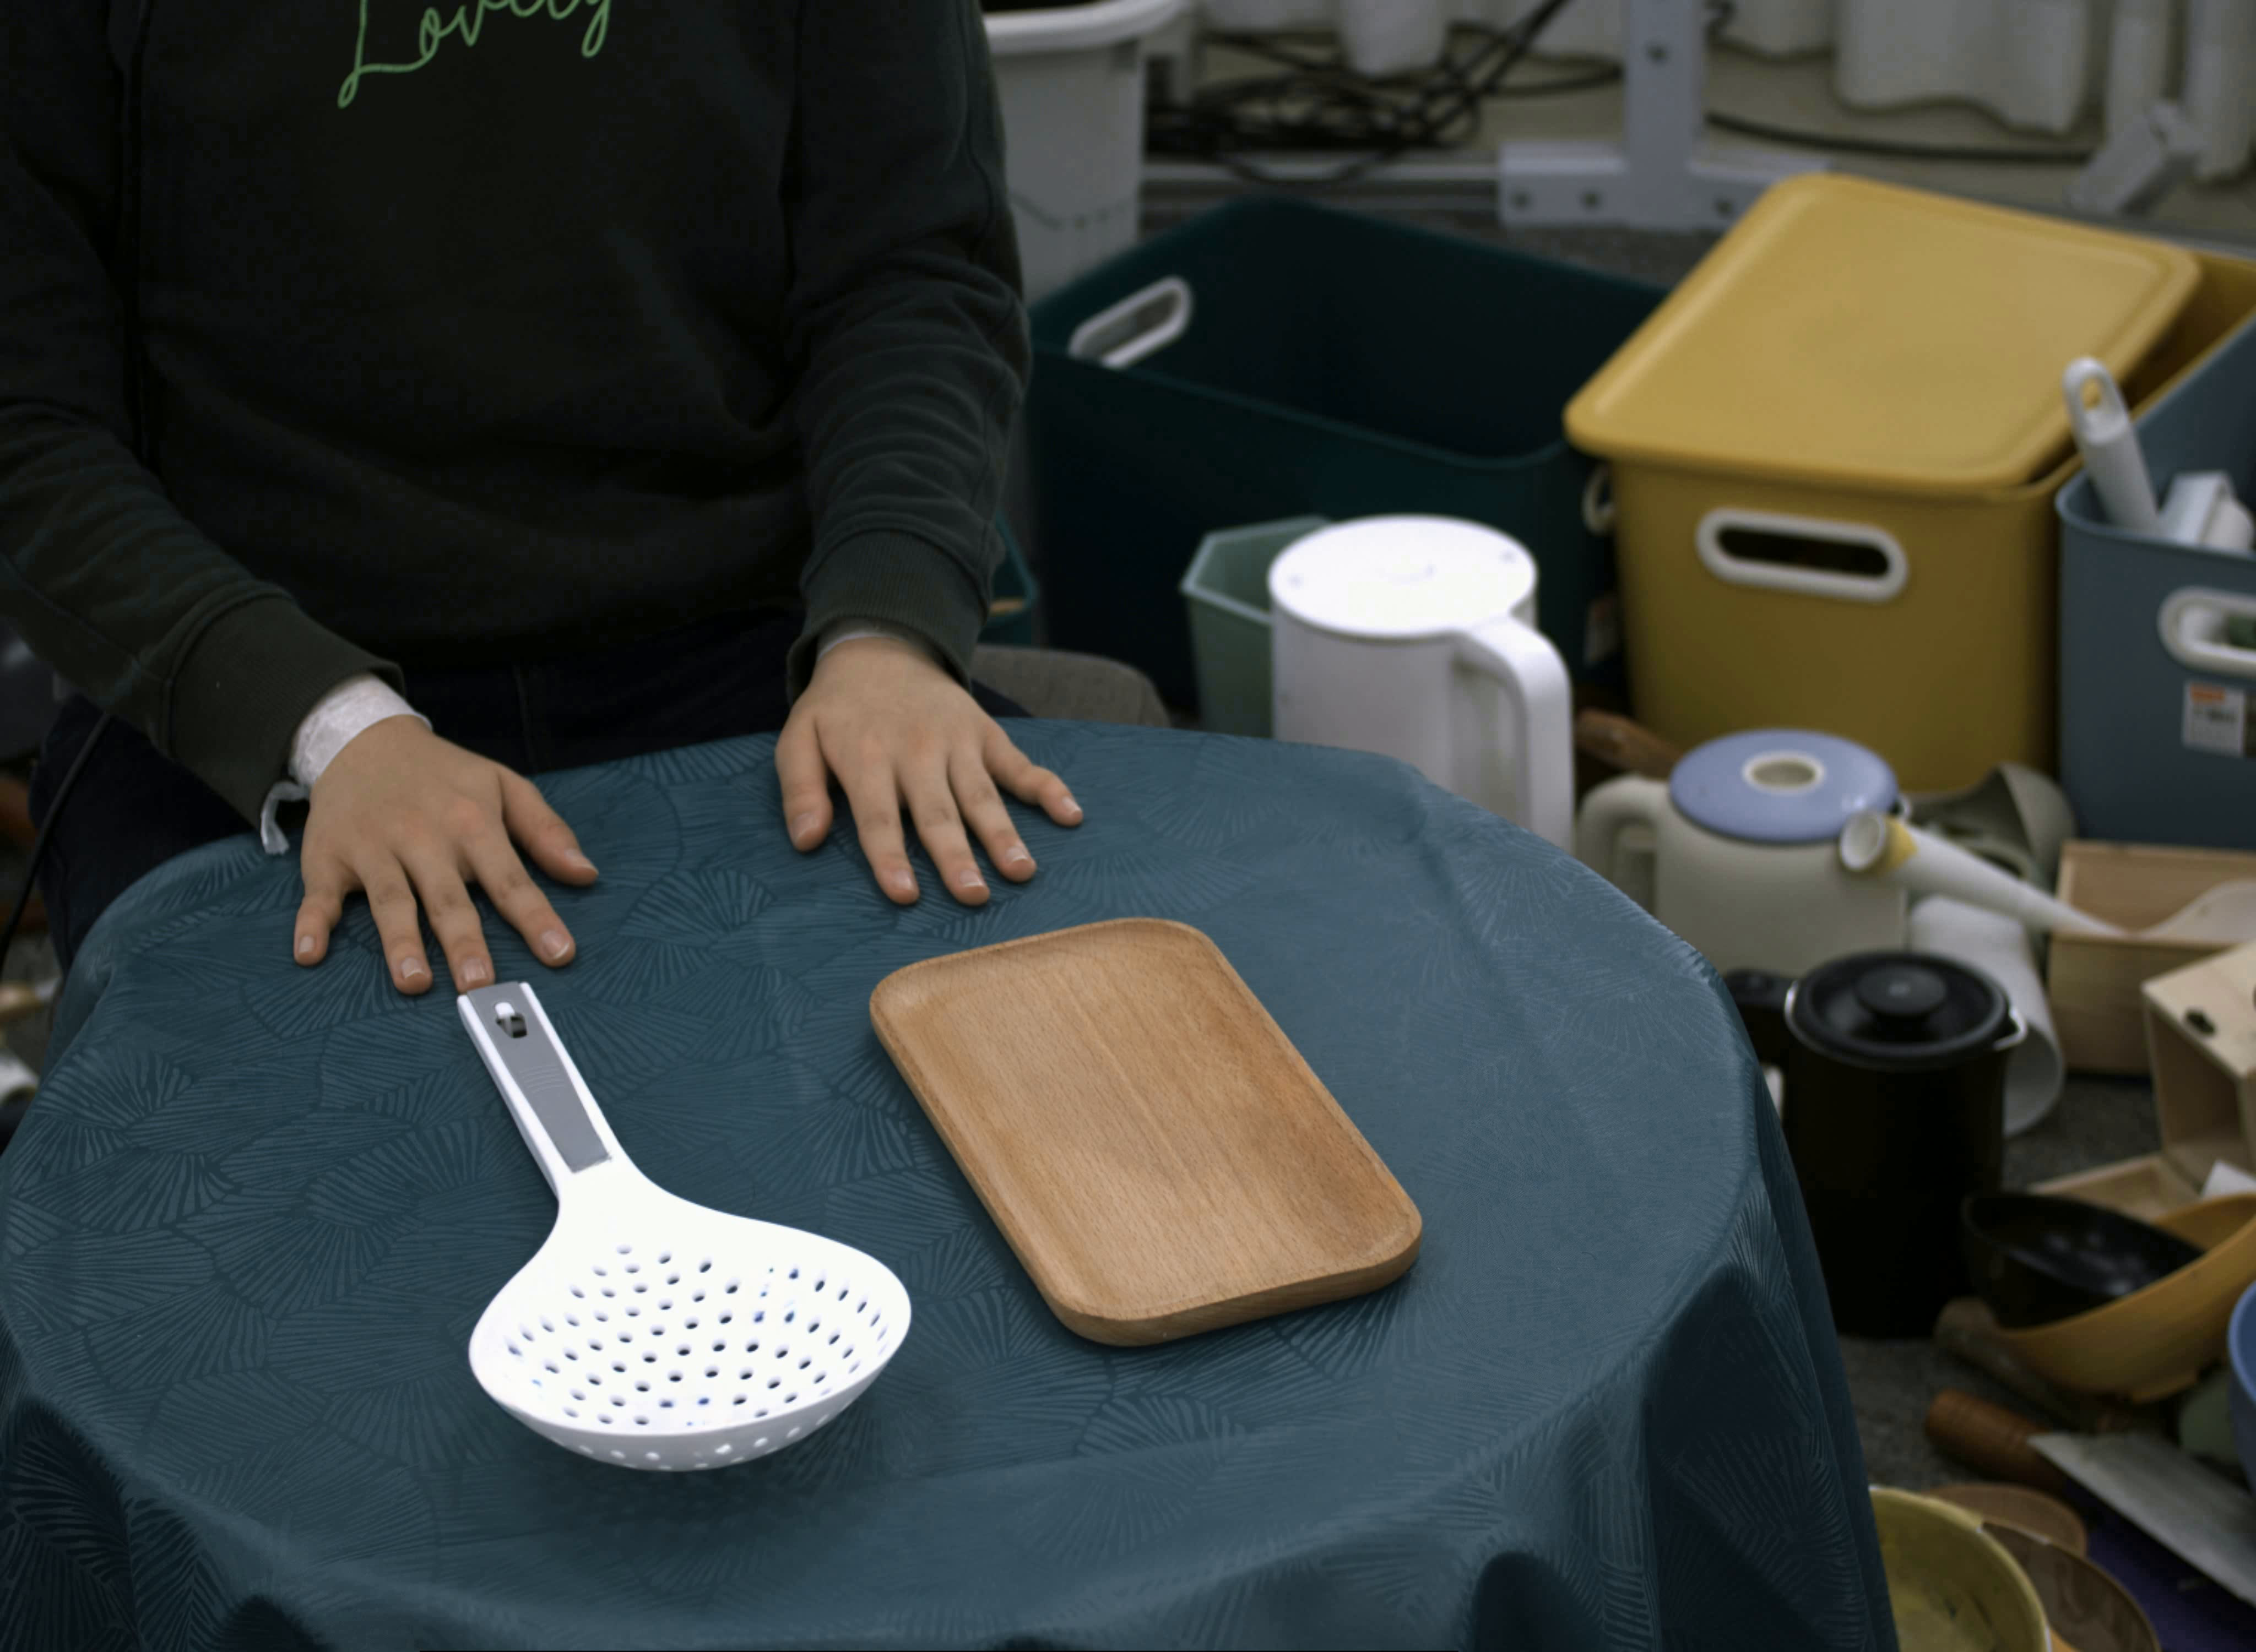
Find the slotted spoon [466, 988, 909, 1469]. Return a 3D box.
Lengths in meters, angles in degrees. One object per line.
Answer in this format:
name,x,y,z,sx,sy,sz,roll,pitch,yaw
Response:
slotted spoon,-0.168,0.124,1.824,0.136,0.045,0.353,-9,27,-16

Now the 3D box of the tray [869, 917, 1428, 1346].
tray,0.003,0.100,1.885,0.131,0.022,0.253,-9,27,-16
